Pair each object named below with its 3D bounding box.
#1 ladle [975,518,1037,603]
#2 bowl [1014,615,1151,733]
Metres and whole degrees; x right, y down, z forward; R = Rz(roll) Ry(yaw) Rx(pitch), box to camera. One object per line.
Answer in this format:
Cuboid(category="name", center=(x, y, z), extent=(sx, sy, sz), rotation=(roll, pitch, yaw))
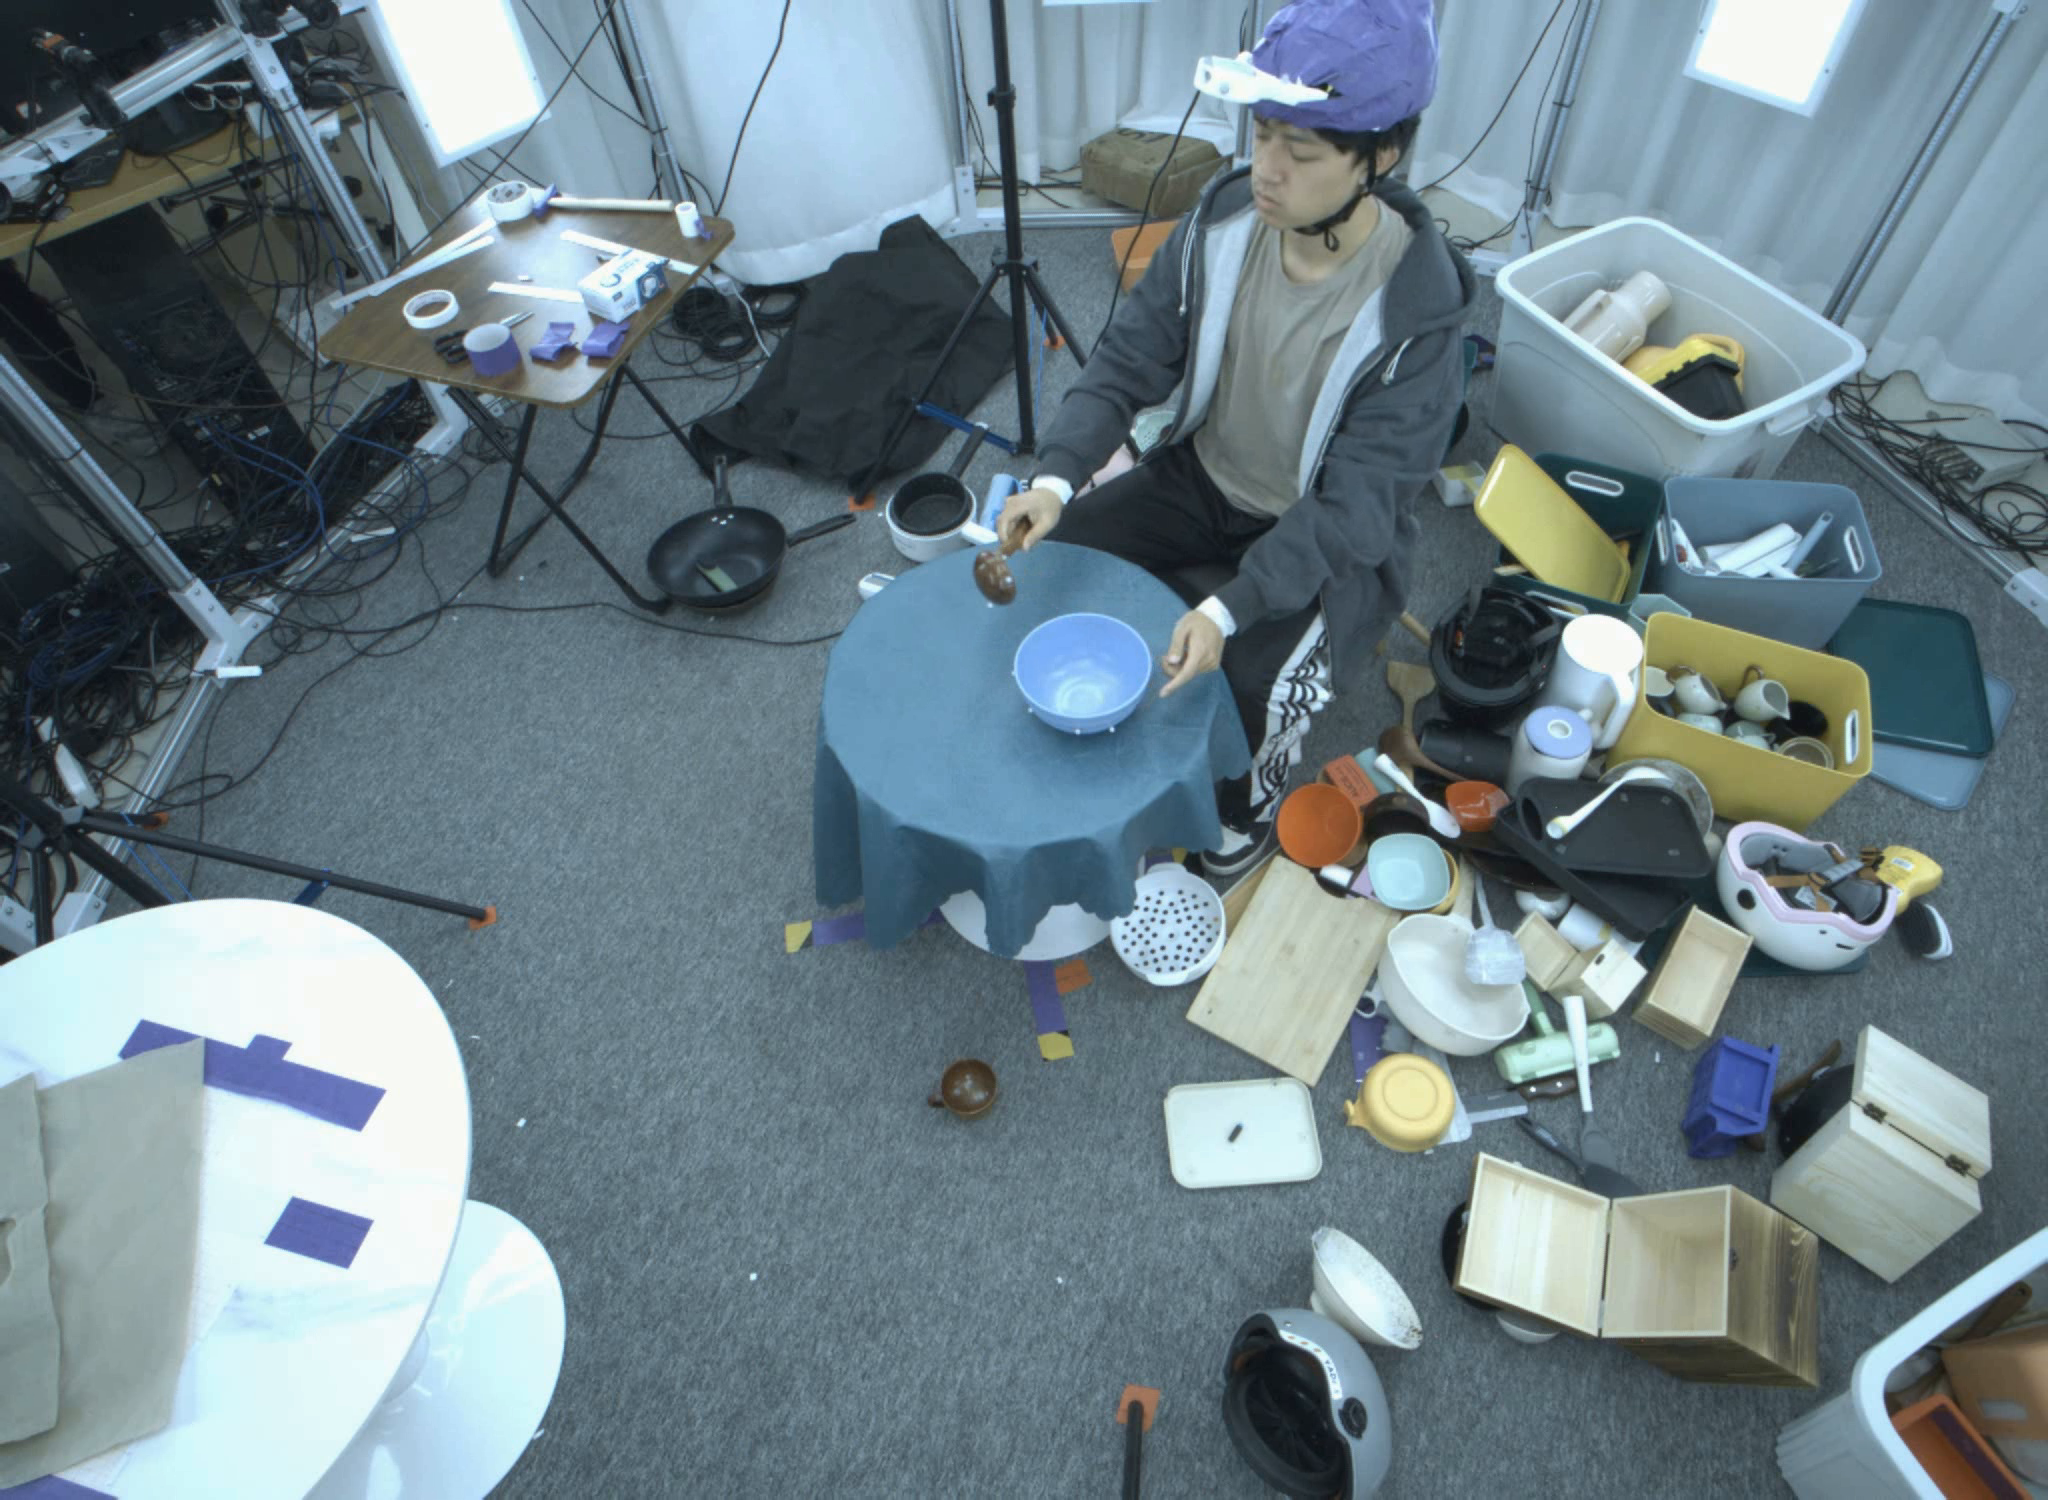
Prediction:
Cuboid(category="ladle", center=(-0.004, -0.288, 1.752), extent=(0.075, 0.083, 0.274), rotation=(-8, 26, 25))
Cuboid(category="bowl", center=(0.086, -0.096, 1.798), extent=(0.196, 0.096, 0.194), rotation=(0, 53, 2))
